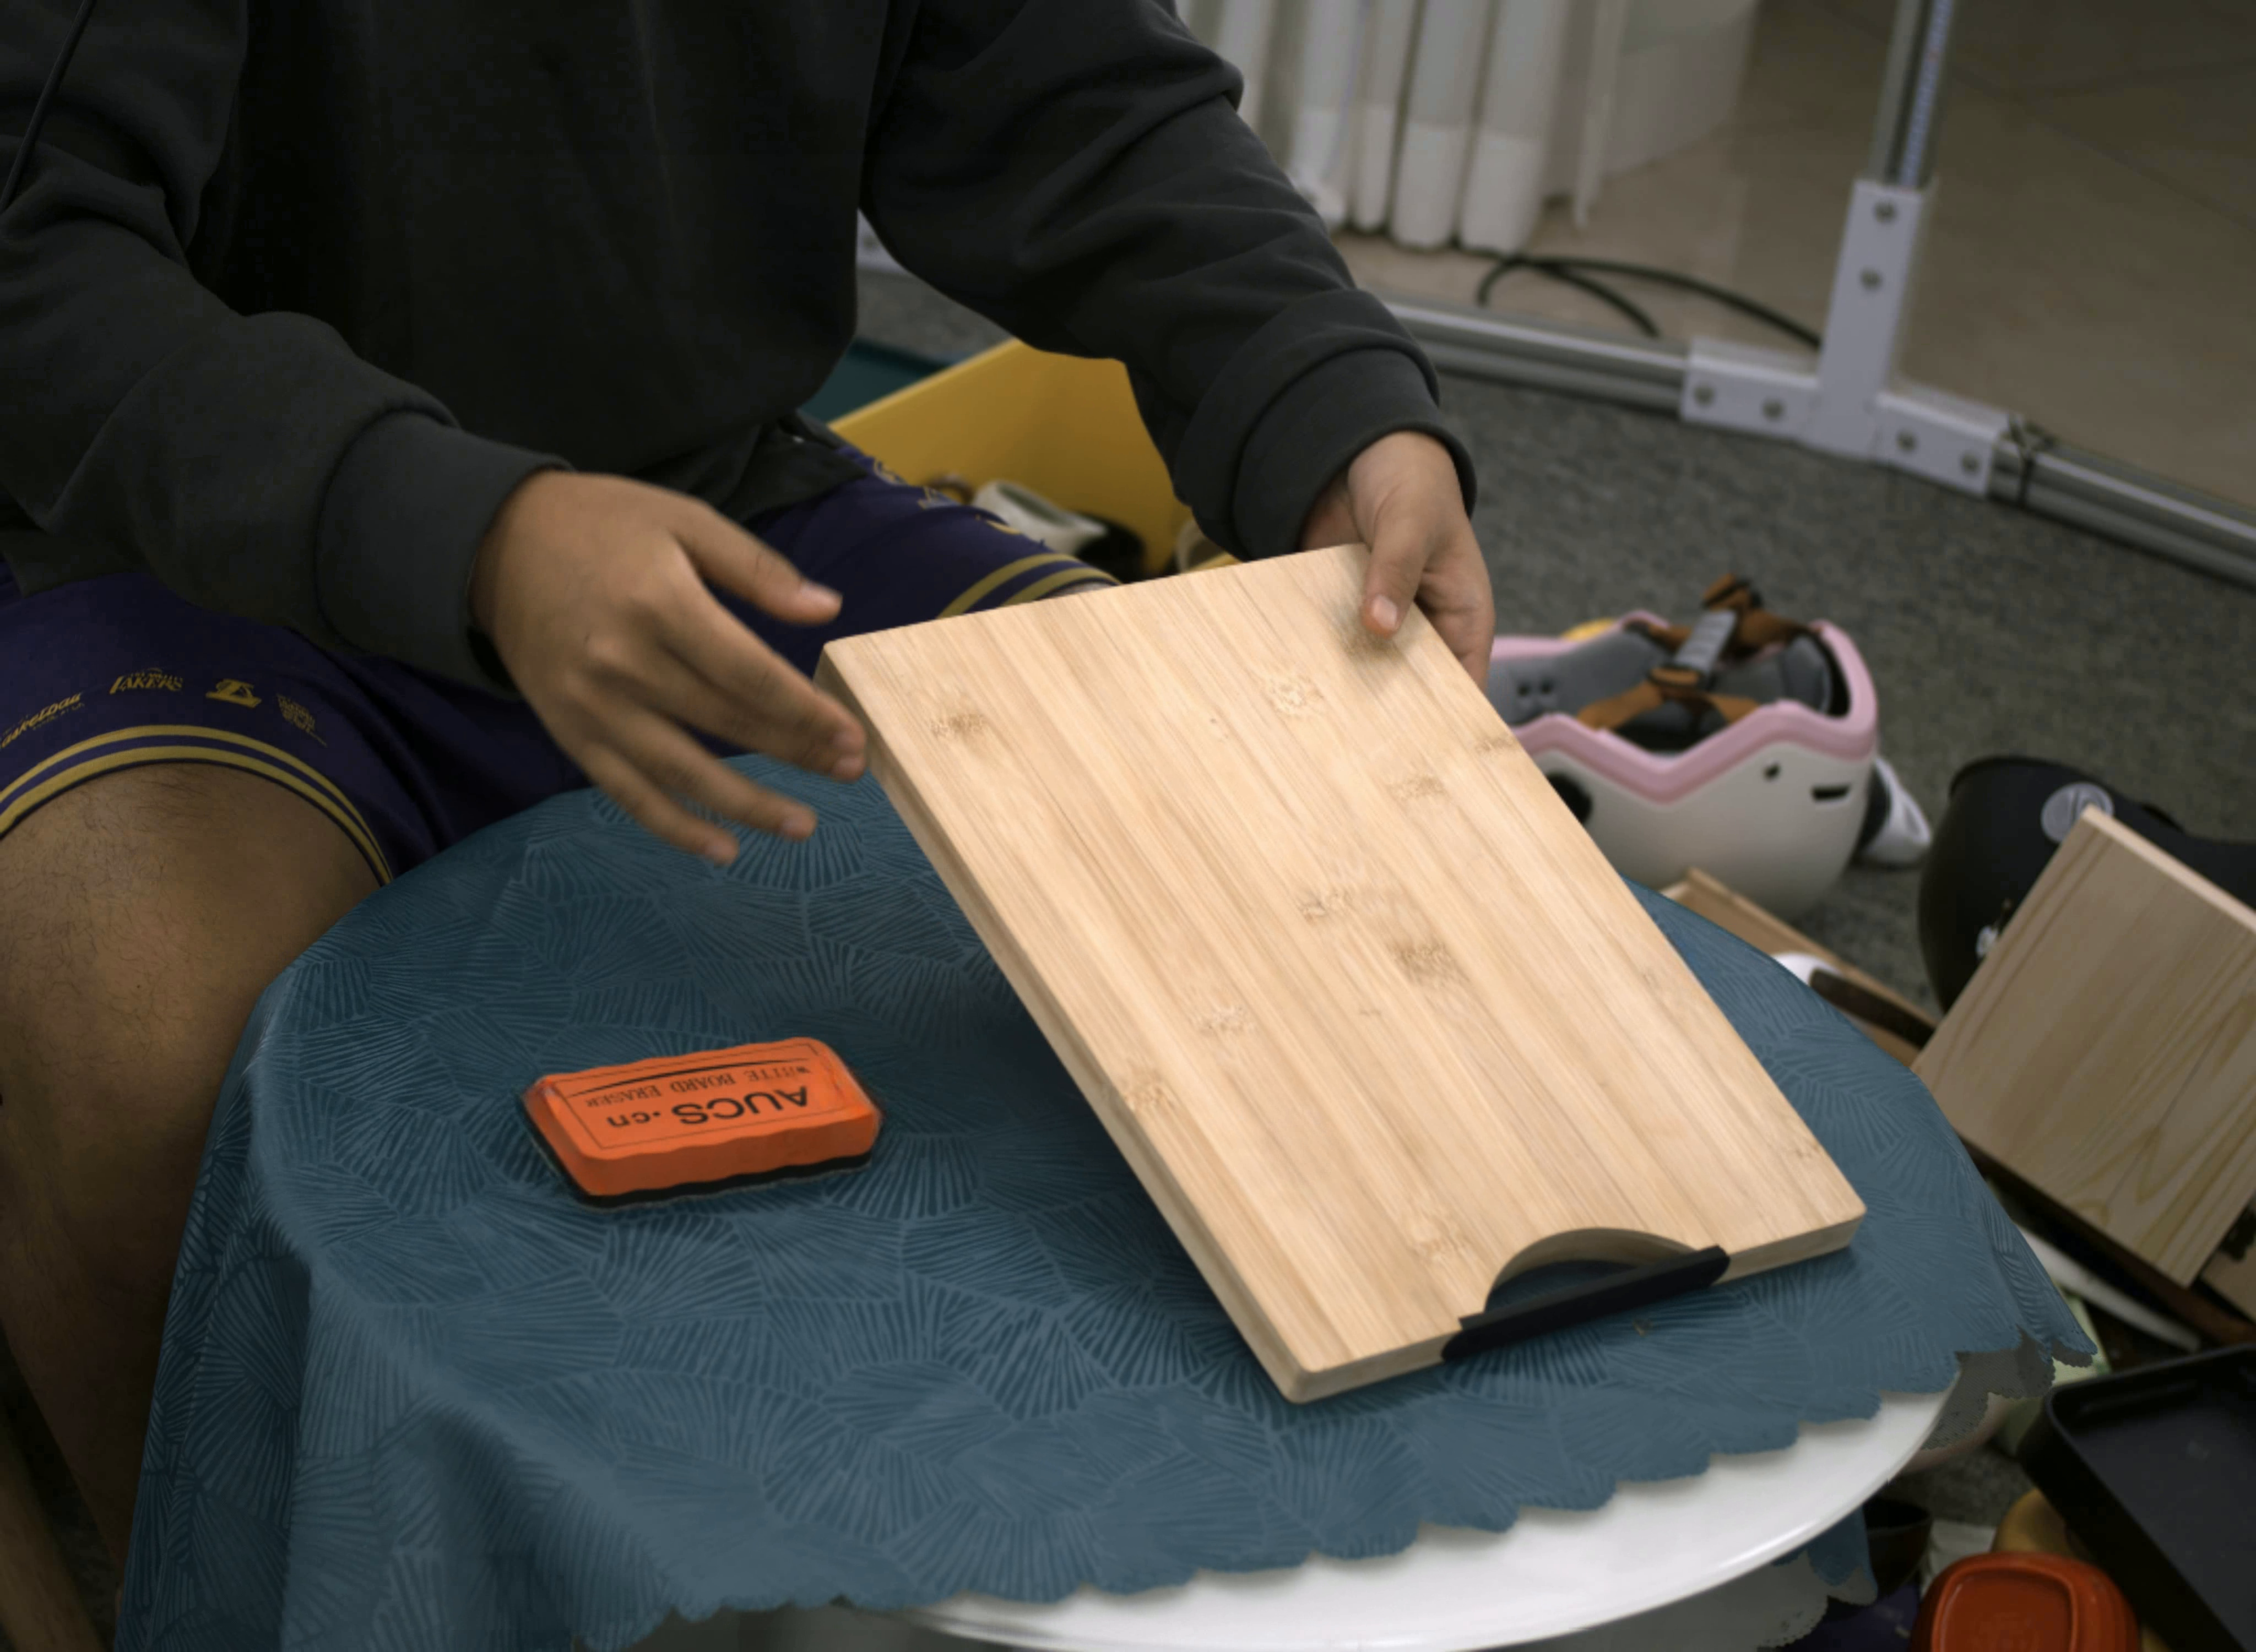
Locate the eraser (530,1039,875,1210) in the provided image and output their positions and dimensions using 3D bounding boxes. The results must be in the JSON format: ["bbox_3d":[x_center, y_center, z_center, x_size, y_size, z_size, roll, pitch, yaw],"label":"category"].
[{"bbox_3d":[-0.143,0.100,1.789,0.107,0.023,0.059,-7,30,-25],"label":"eraser"}]

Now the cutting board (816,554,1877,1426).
[{"bbox_3d":[0.072,0.043,1.836,0.249,0.023,0.352,-13,52,-32],"label":"cutting board"}]
